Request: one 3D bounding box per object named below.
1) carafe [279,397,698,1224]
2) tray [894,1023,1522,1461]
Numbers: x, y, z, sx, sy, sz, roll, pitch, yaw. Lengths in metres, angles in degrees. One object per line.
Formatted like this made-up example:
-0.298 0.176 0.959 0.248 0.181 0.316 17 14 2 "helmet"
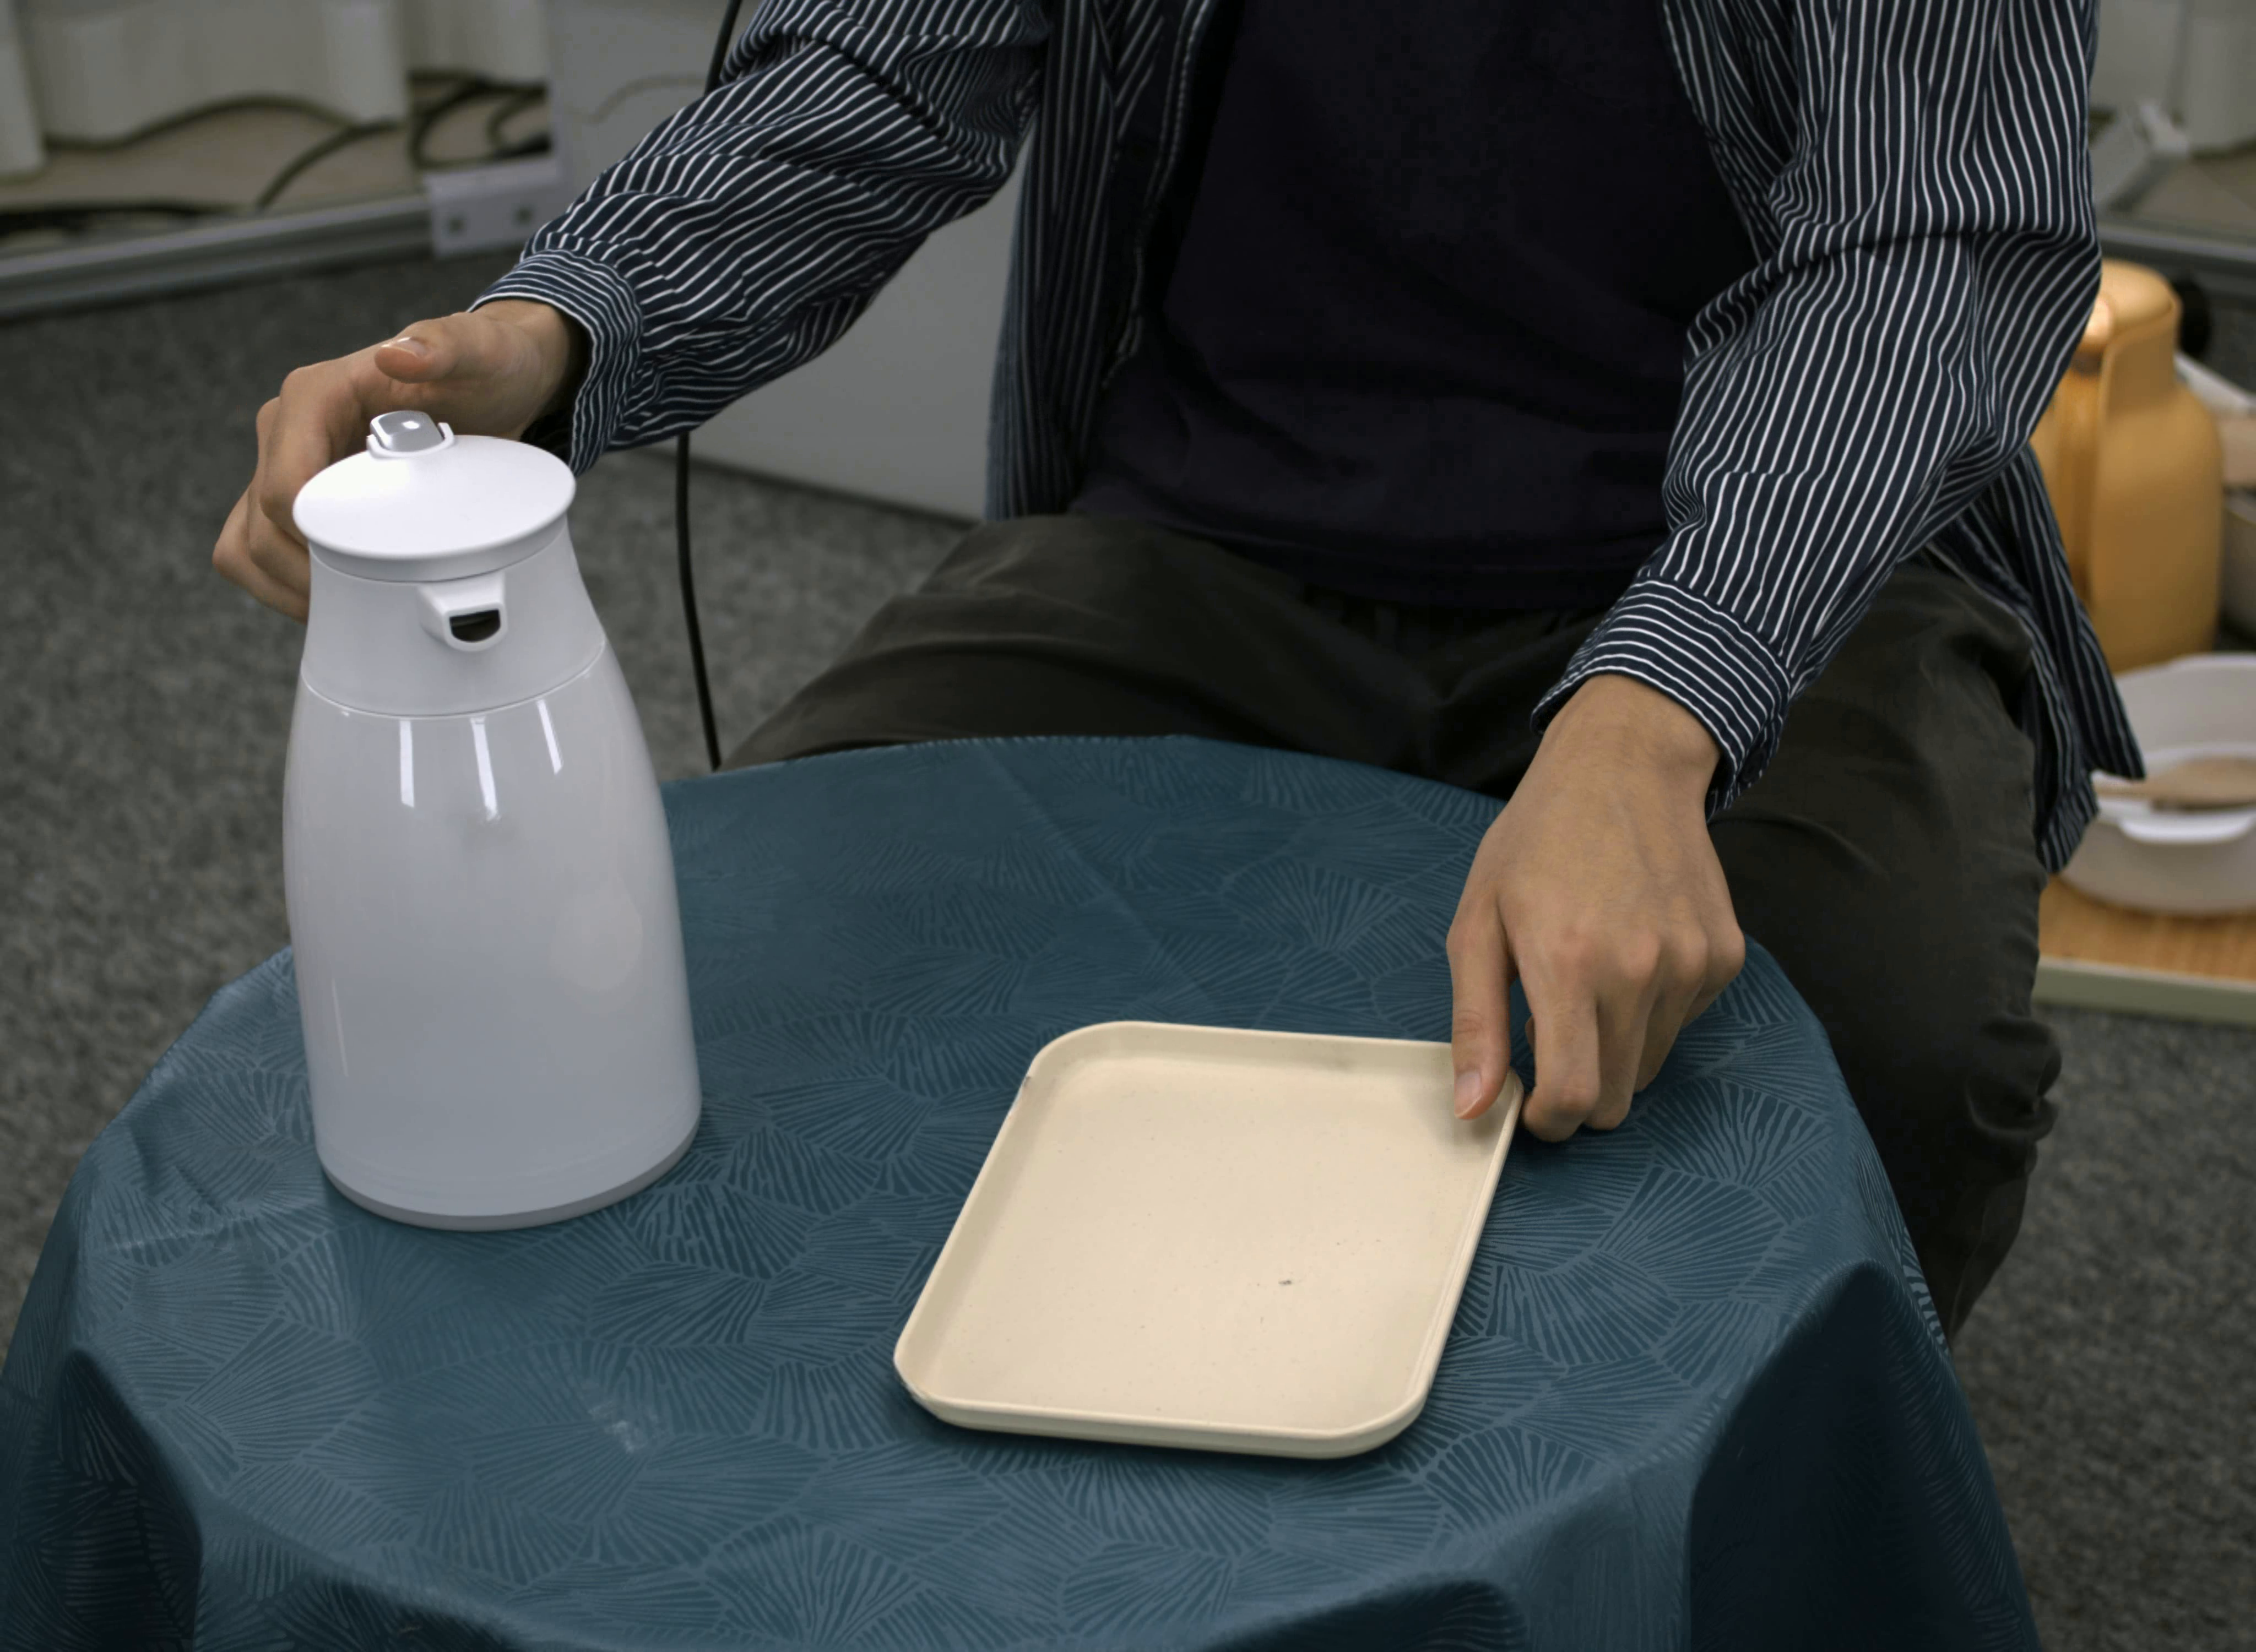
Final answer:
-0.226 -0.015 1.872 0.133 0.246 0.169 -13 27 -18 "carafe"
0.029 0.133 1.812 0.170 0.017 0.244 4 28 12 "tray"
